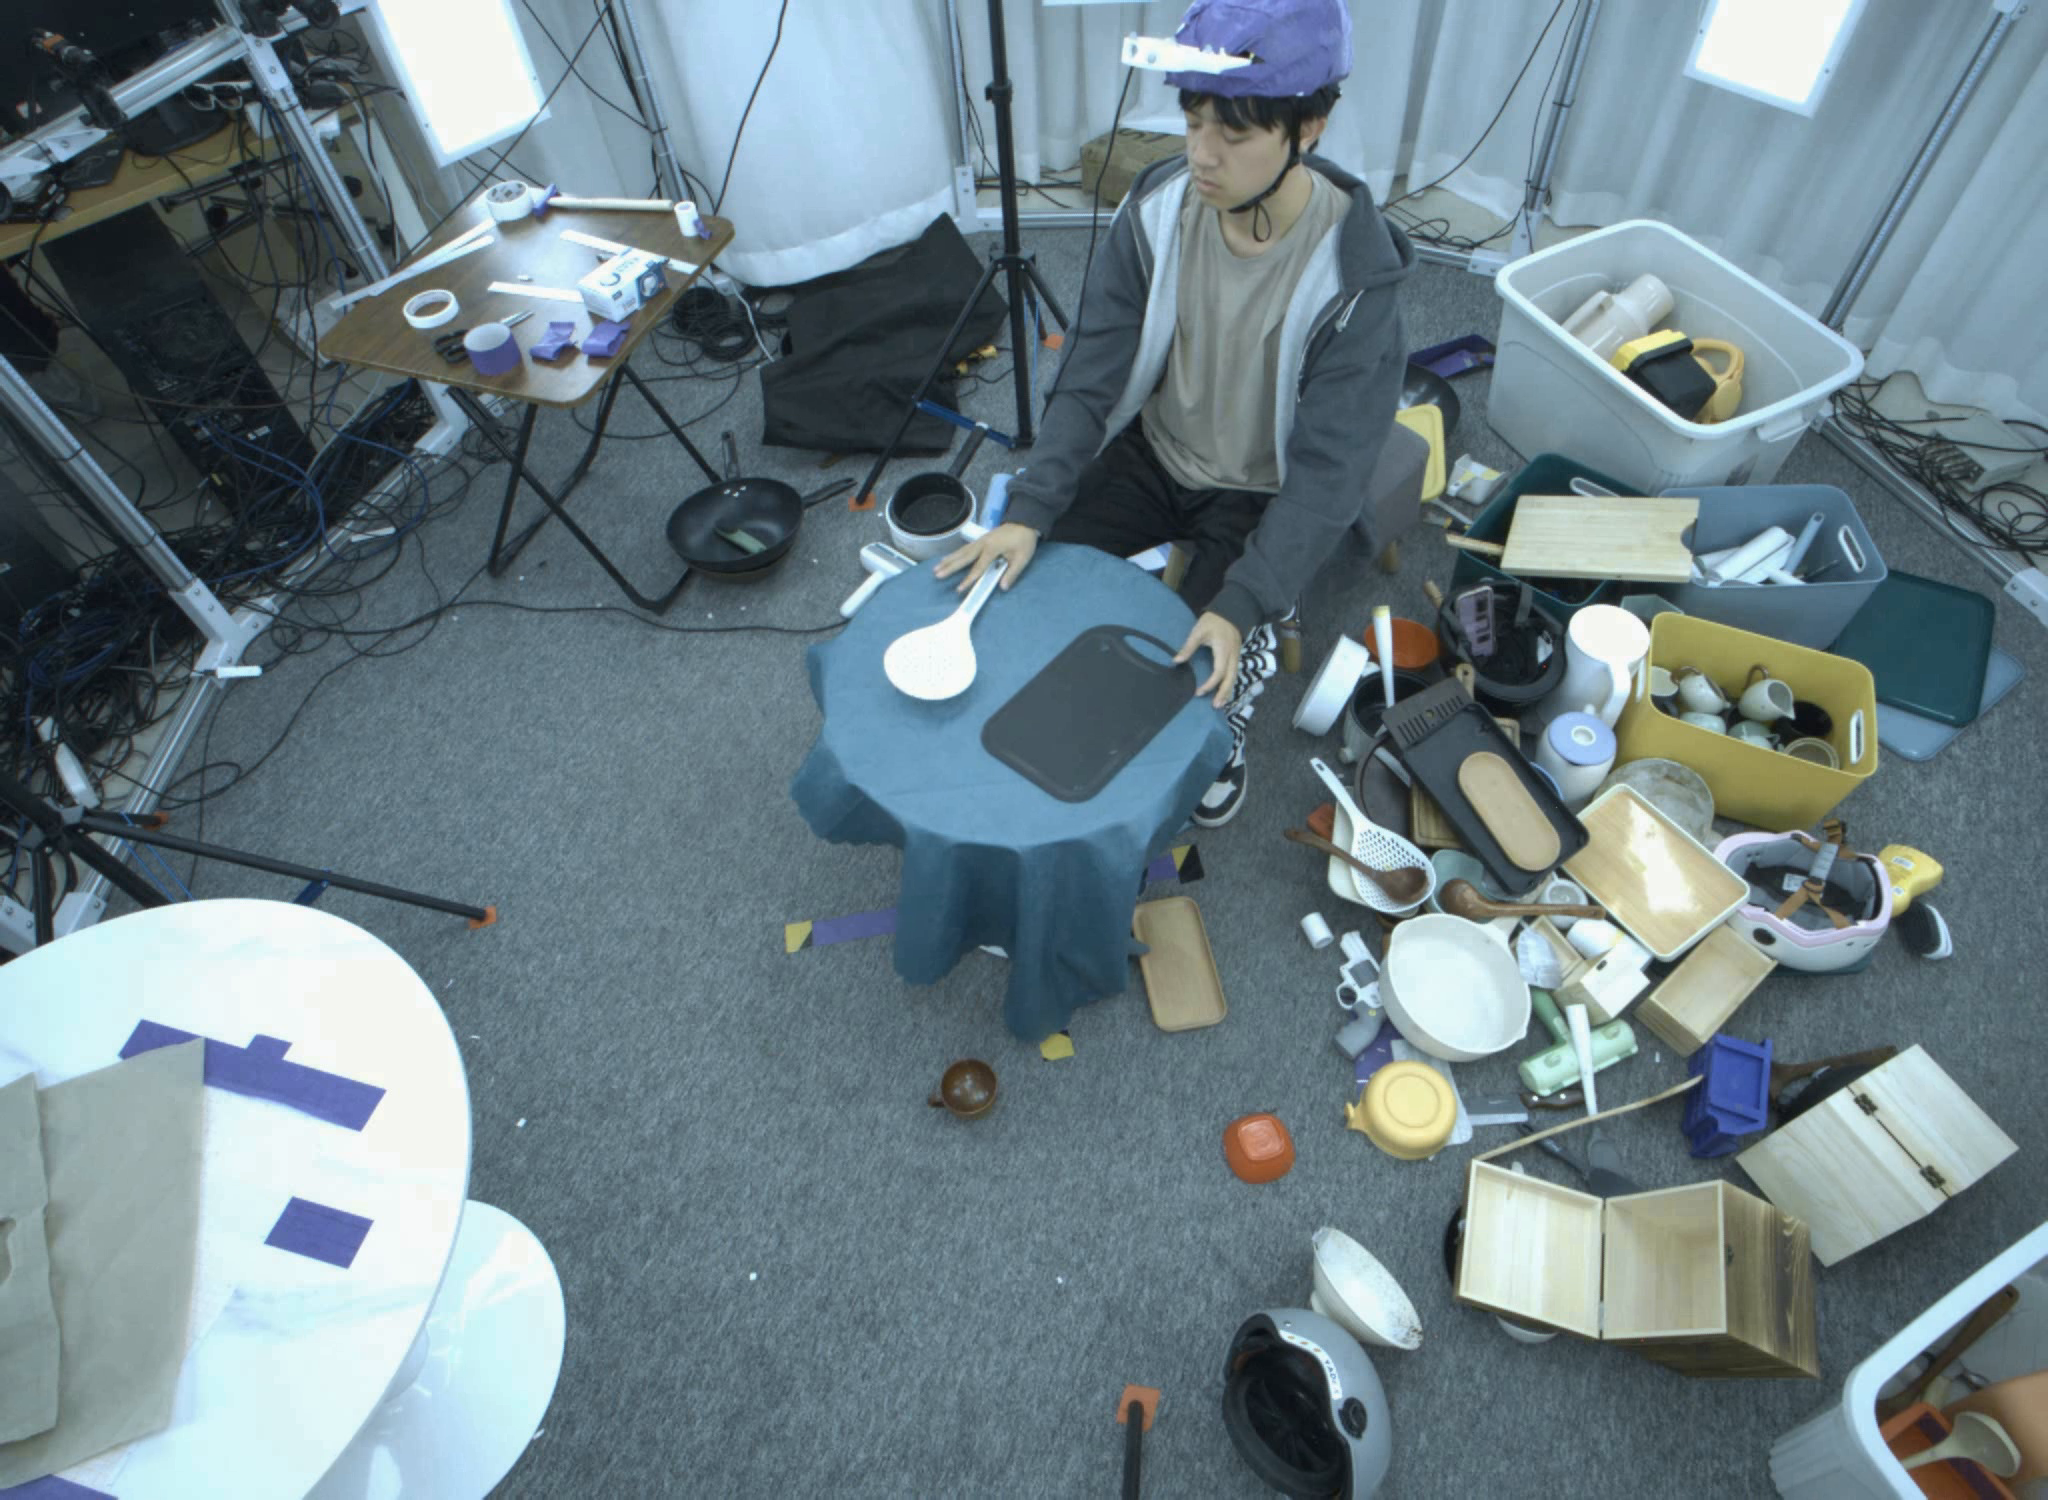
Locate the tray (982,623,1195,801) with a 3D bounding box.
[{"bbox_3d":[0.102,-0.069,1.832,0.207,0.010,0.327,35,63,23],"label":"tray"}]

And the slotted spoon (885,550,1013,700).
[{"bbox_3d":[-0.099,-0.200,1.906,0.135,0.046,0.350,25,58,5],"label":"slotted spoon"}]
